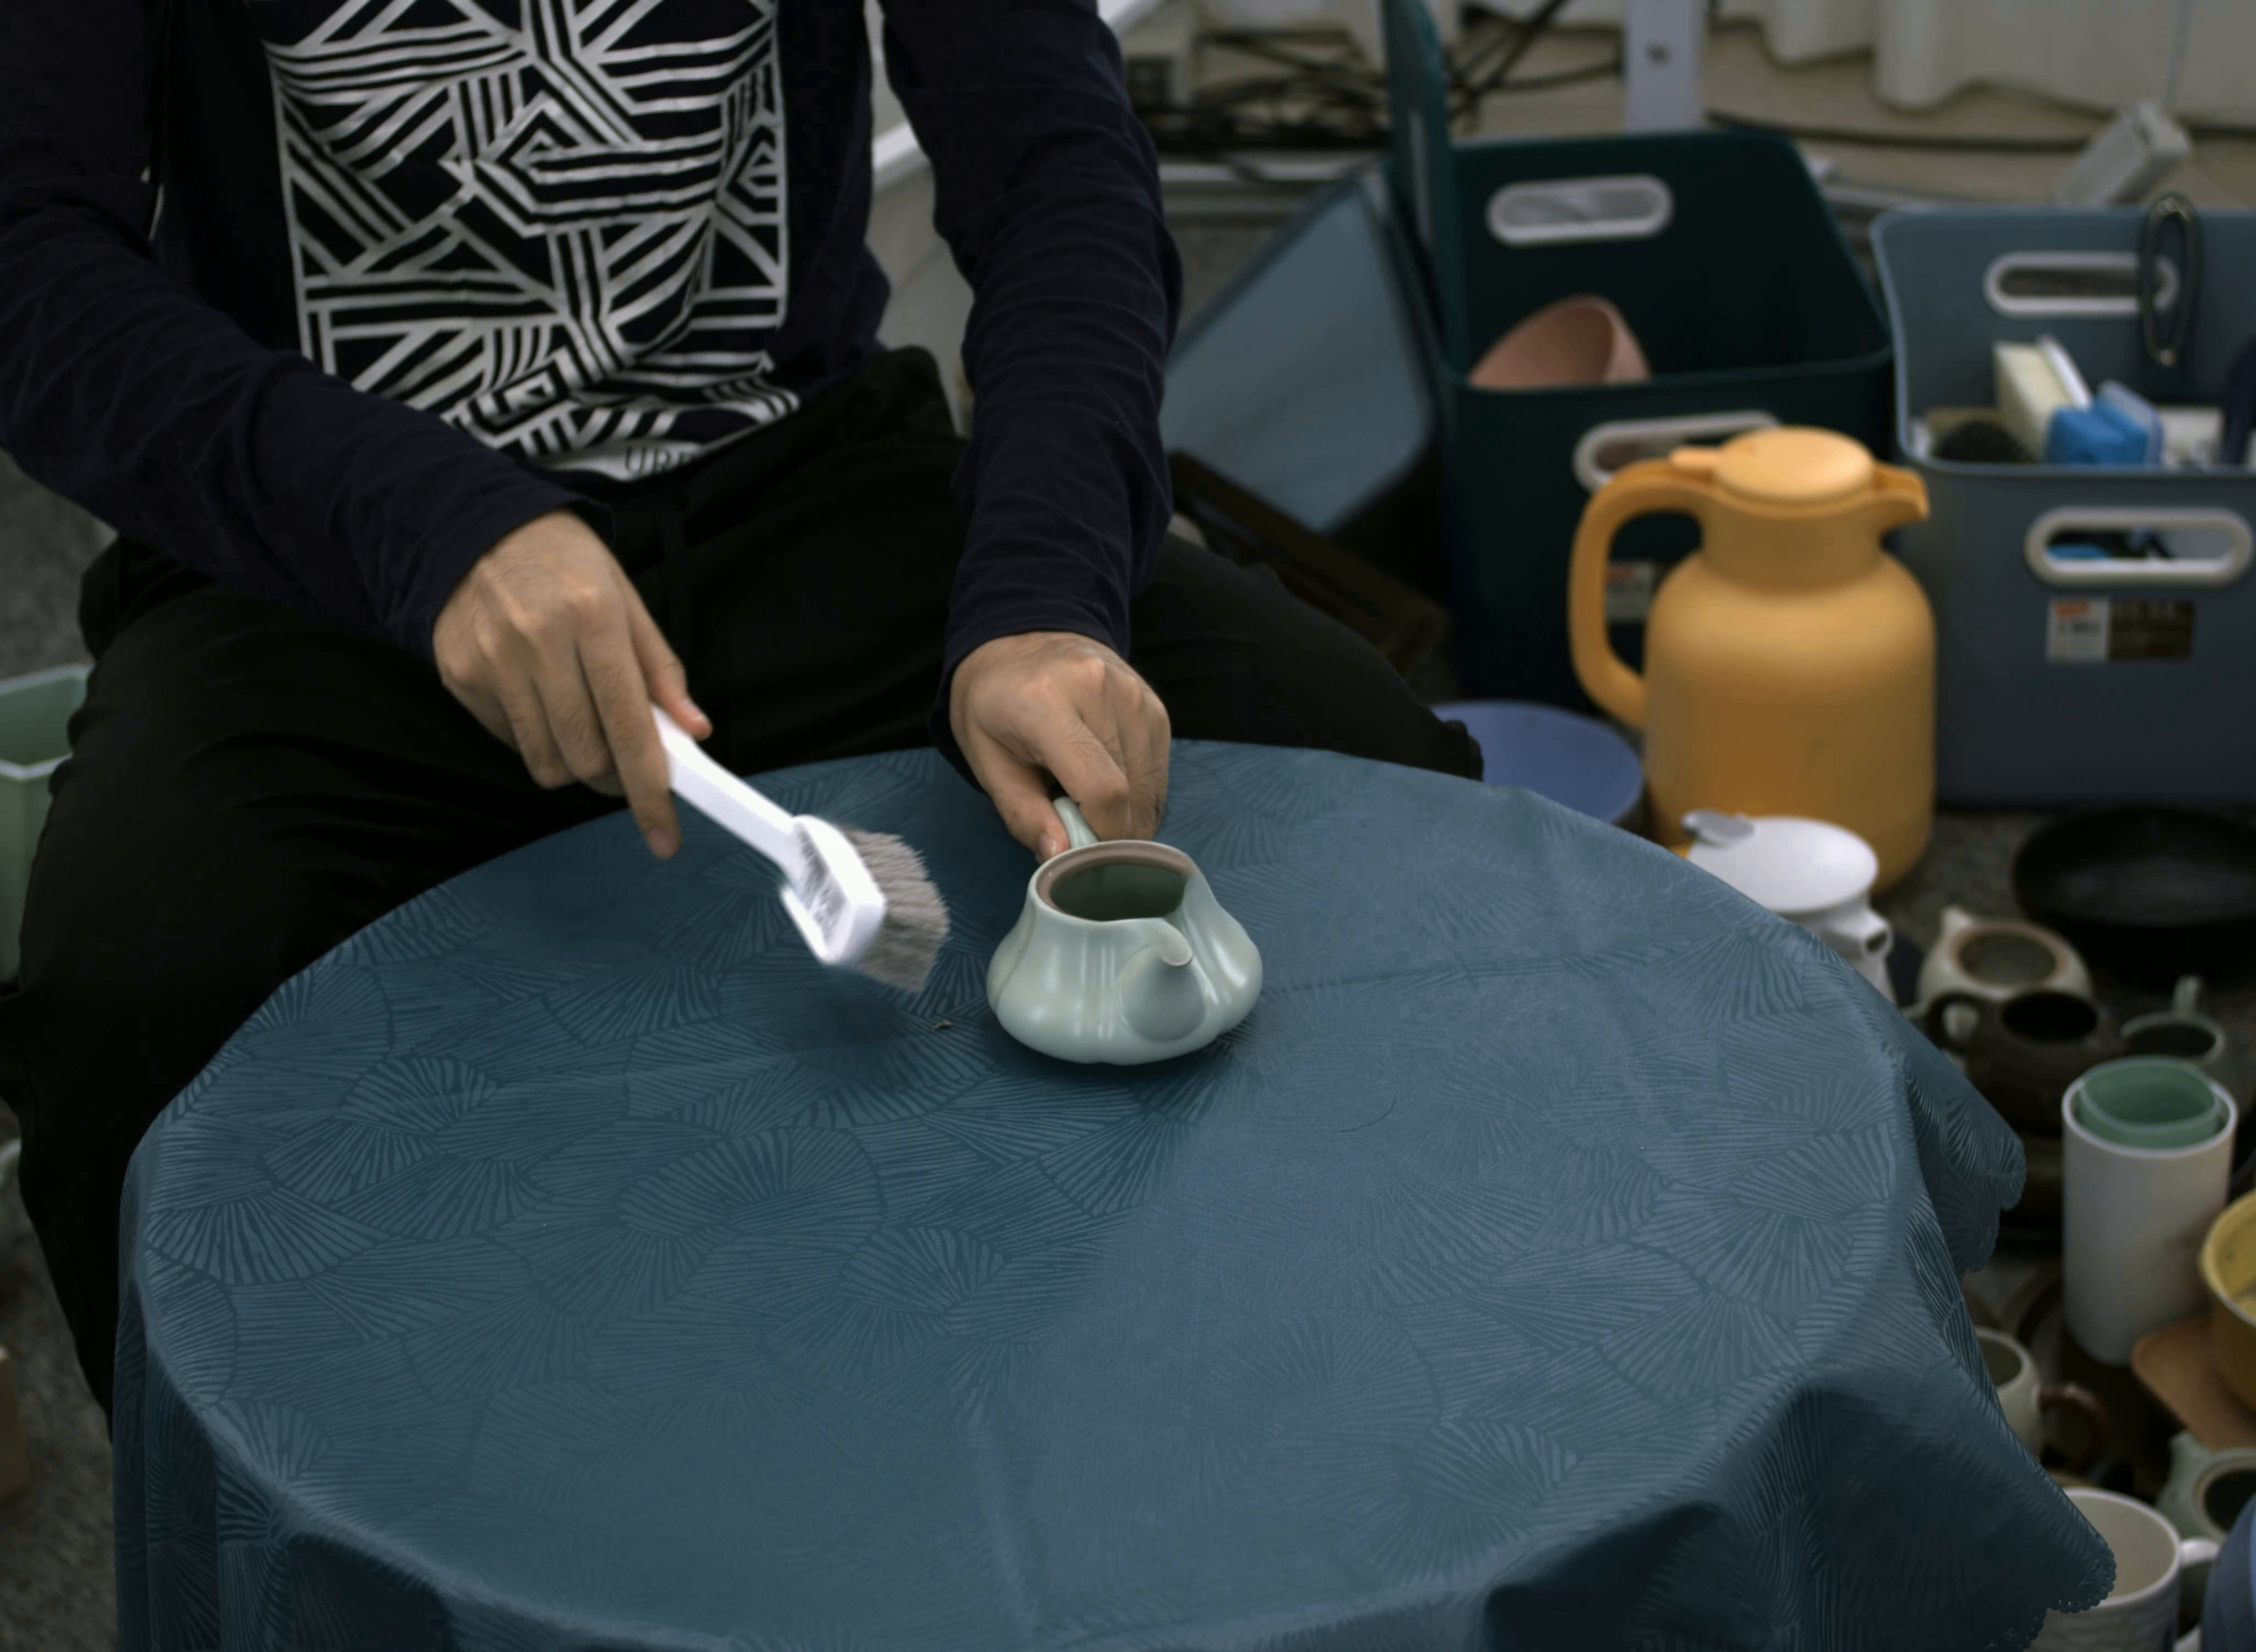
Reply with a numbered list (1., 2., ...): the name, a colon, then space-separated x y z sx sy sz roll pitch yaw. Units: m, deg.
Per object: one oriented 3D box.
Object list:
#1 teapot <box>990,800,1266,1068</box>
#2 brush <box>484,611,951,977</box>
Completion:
1. teapot: -0.003 0.041 1.951 0.096 0.061 0.138 -15 30 -17
2. brush: -0.145 -0.016 2.002 0.050 0.034 0.244 -5 31 -43
